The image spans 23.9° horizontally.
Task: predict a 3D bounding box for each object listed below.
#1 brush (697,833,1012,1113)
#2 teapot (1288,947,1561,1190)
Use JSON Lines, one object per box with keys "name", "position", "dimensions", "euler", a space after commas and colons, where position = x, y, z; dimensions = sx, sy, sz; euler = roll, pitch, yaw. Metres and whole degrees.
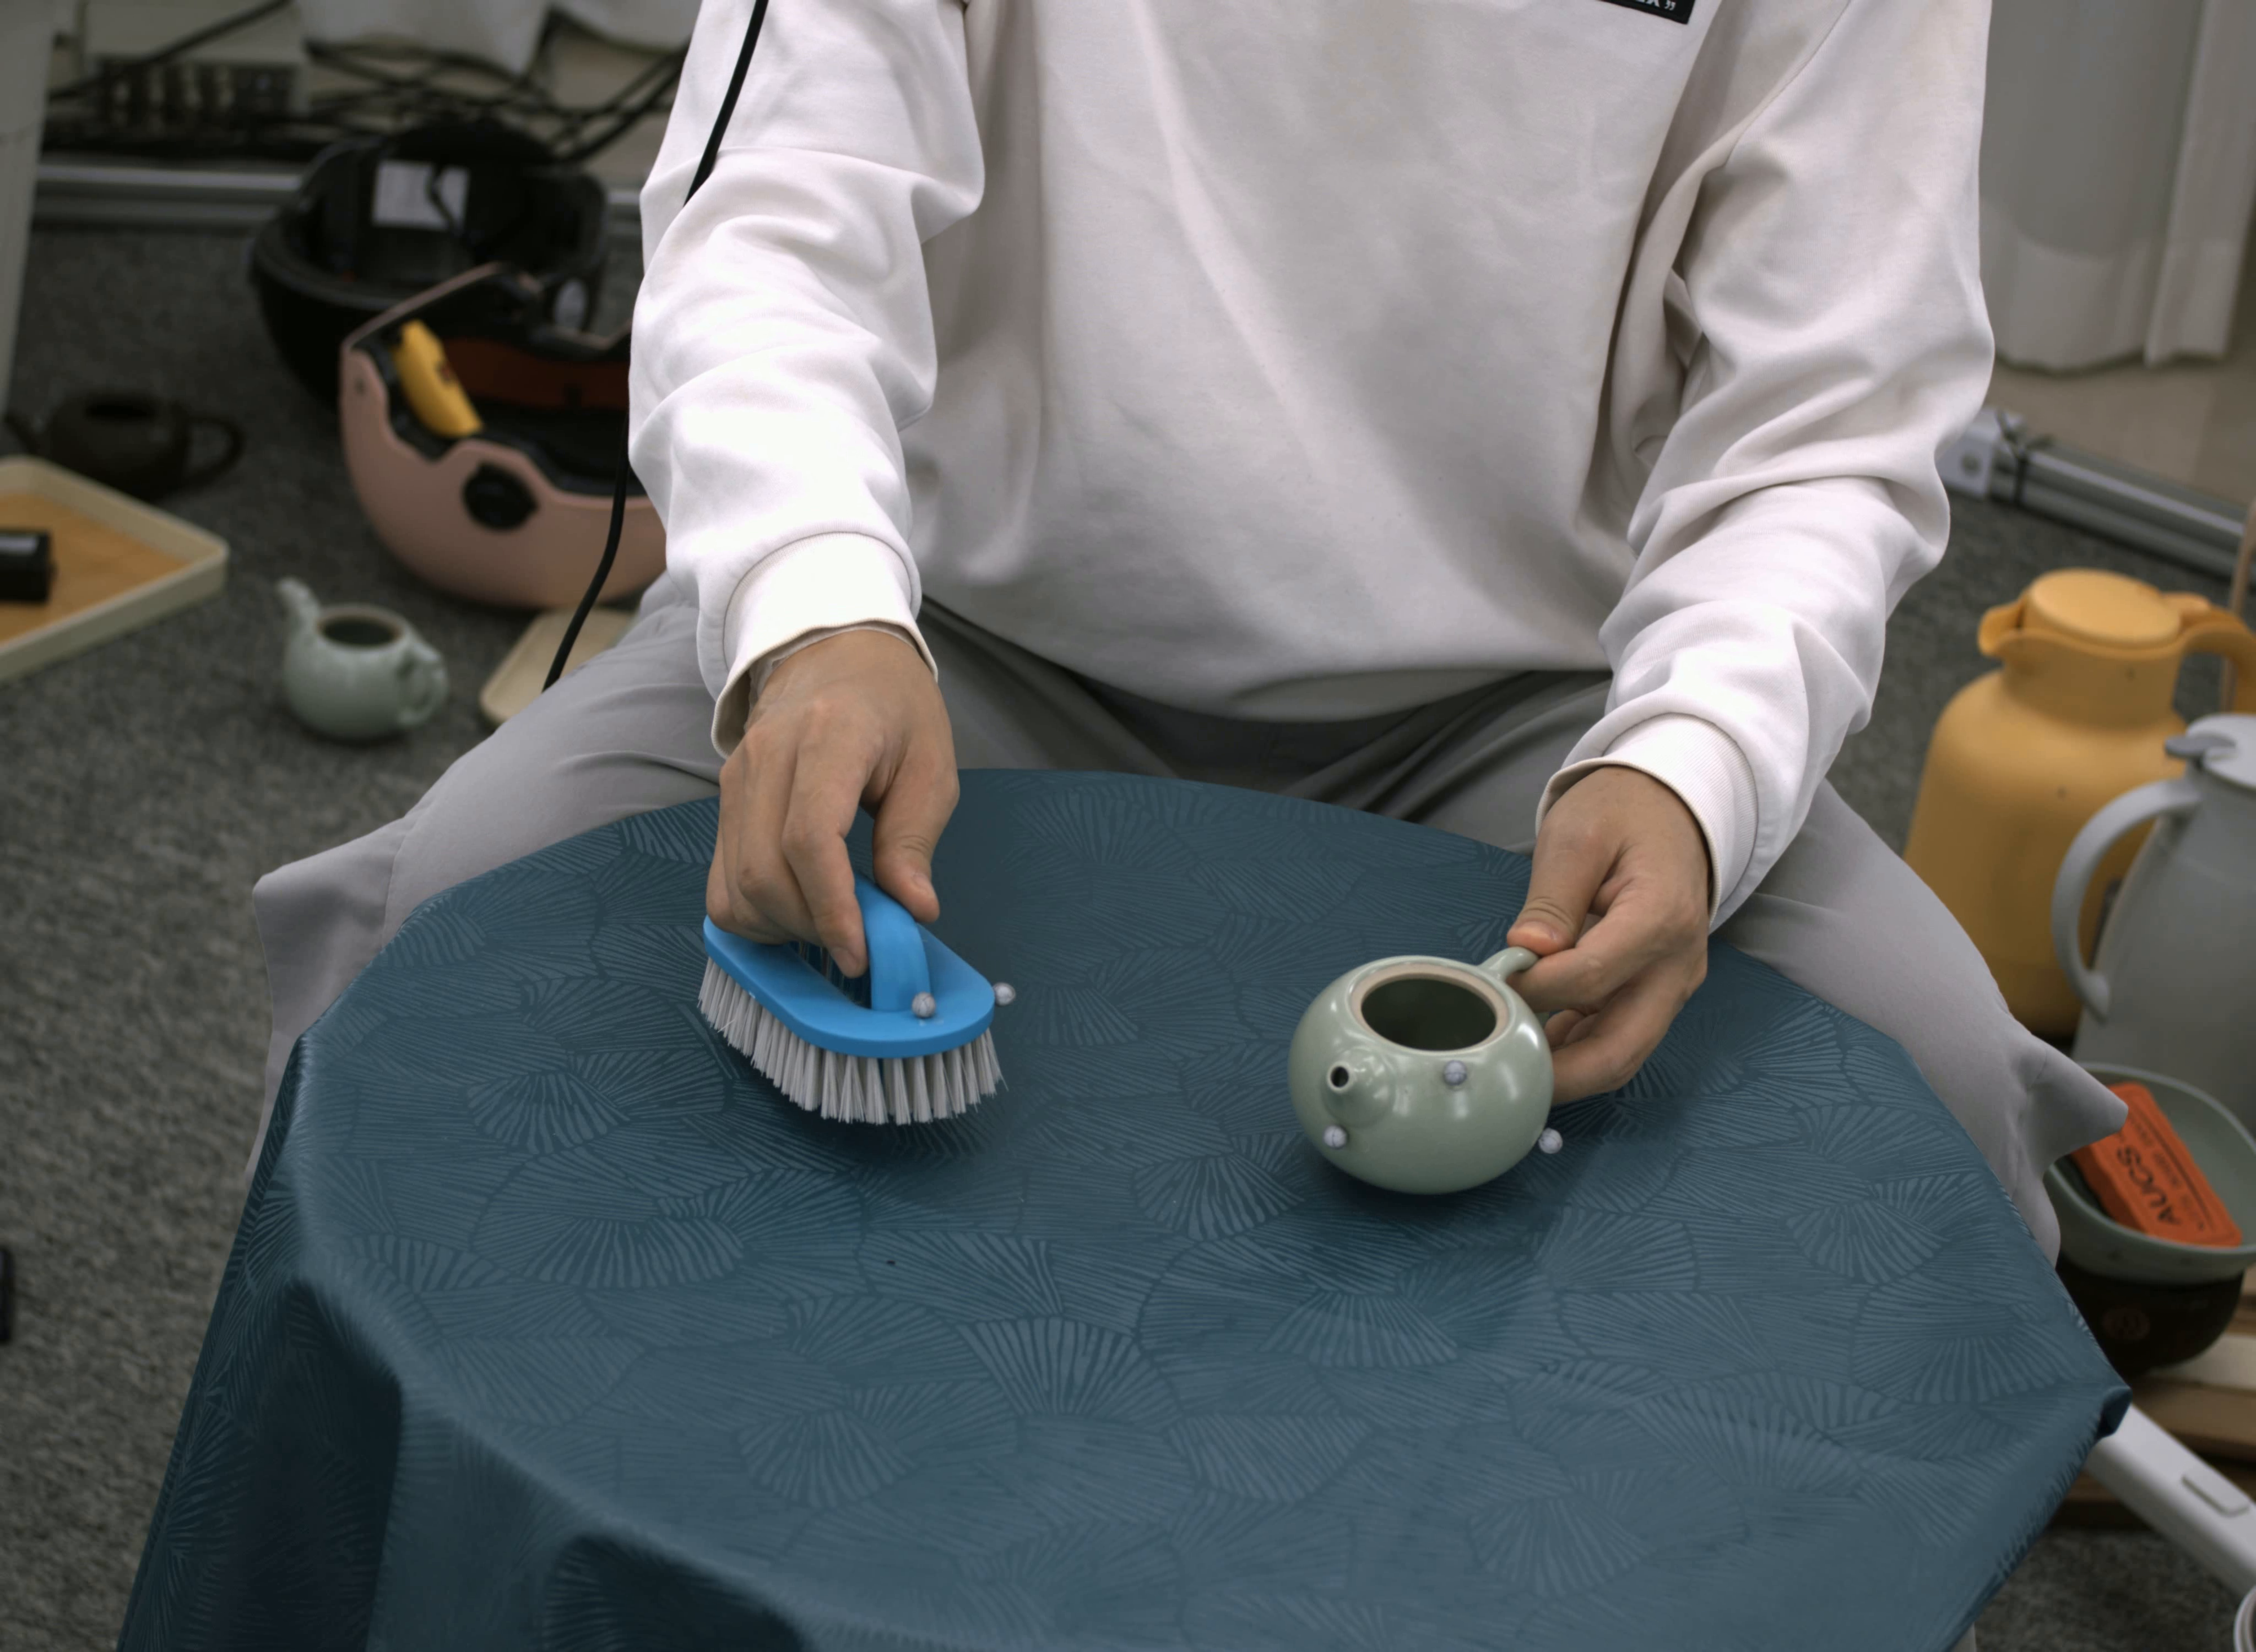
{"name": "brush", "position": [-0.097, 0.043, 1.834], "dimensions": [0.084, 0.063, 0.143], "euler": [-14, 27, -24]}
{"name": "teapot", "position": [0.107, 0.081, 1.829], "dimensions": [0.092, 0.061, 0.128], "euler": [27, 37, 35]}
